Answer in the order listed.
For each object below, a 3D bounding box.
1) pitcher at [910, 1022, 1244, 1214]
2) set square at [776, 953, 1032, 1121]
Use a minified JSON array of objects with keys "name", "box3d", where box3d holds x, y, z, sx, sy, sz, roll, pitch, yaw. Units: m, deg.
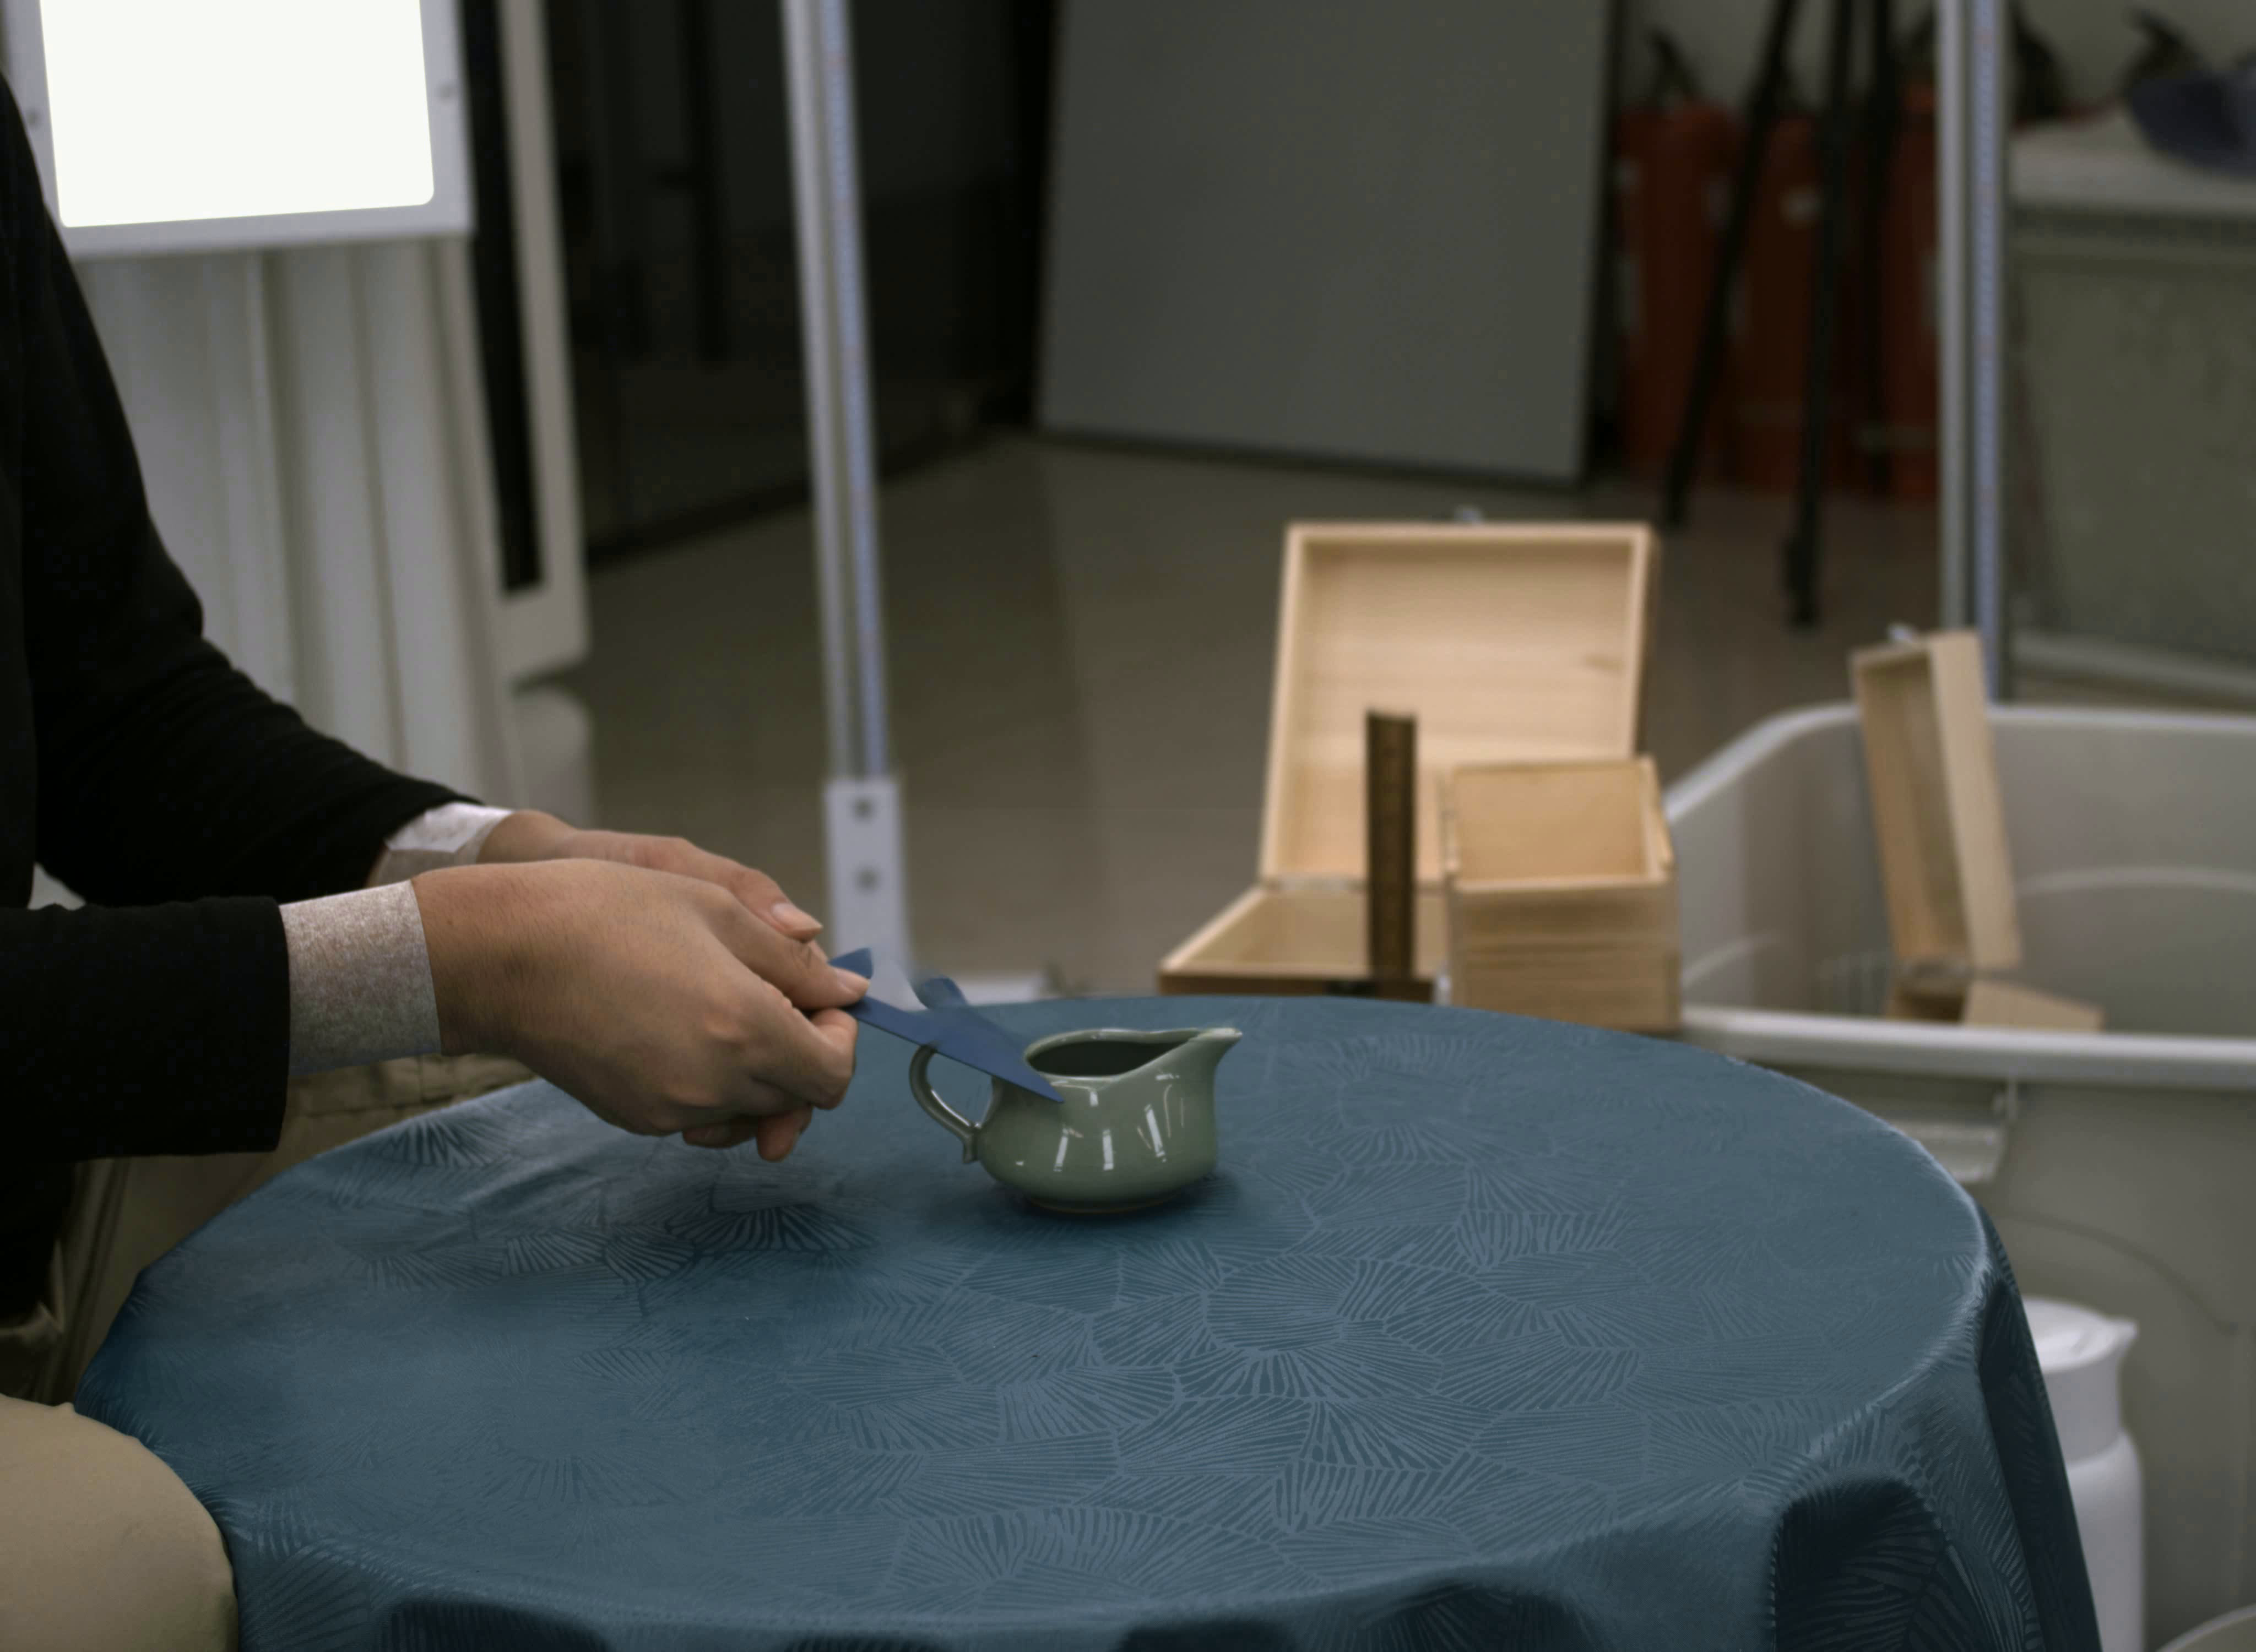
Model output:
[{"name":"pitcher","box3d":[-0.016,0.093,1.768,0.112,0.057,0.084,-1,12,10]},{"name":"set square","box3d":[-0.076,0.067,1.760,0.060,0.006,0.133,0,22,-22]}]
